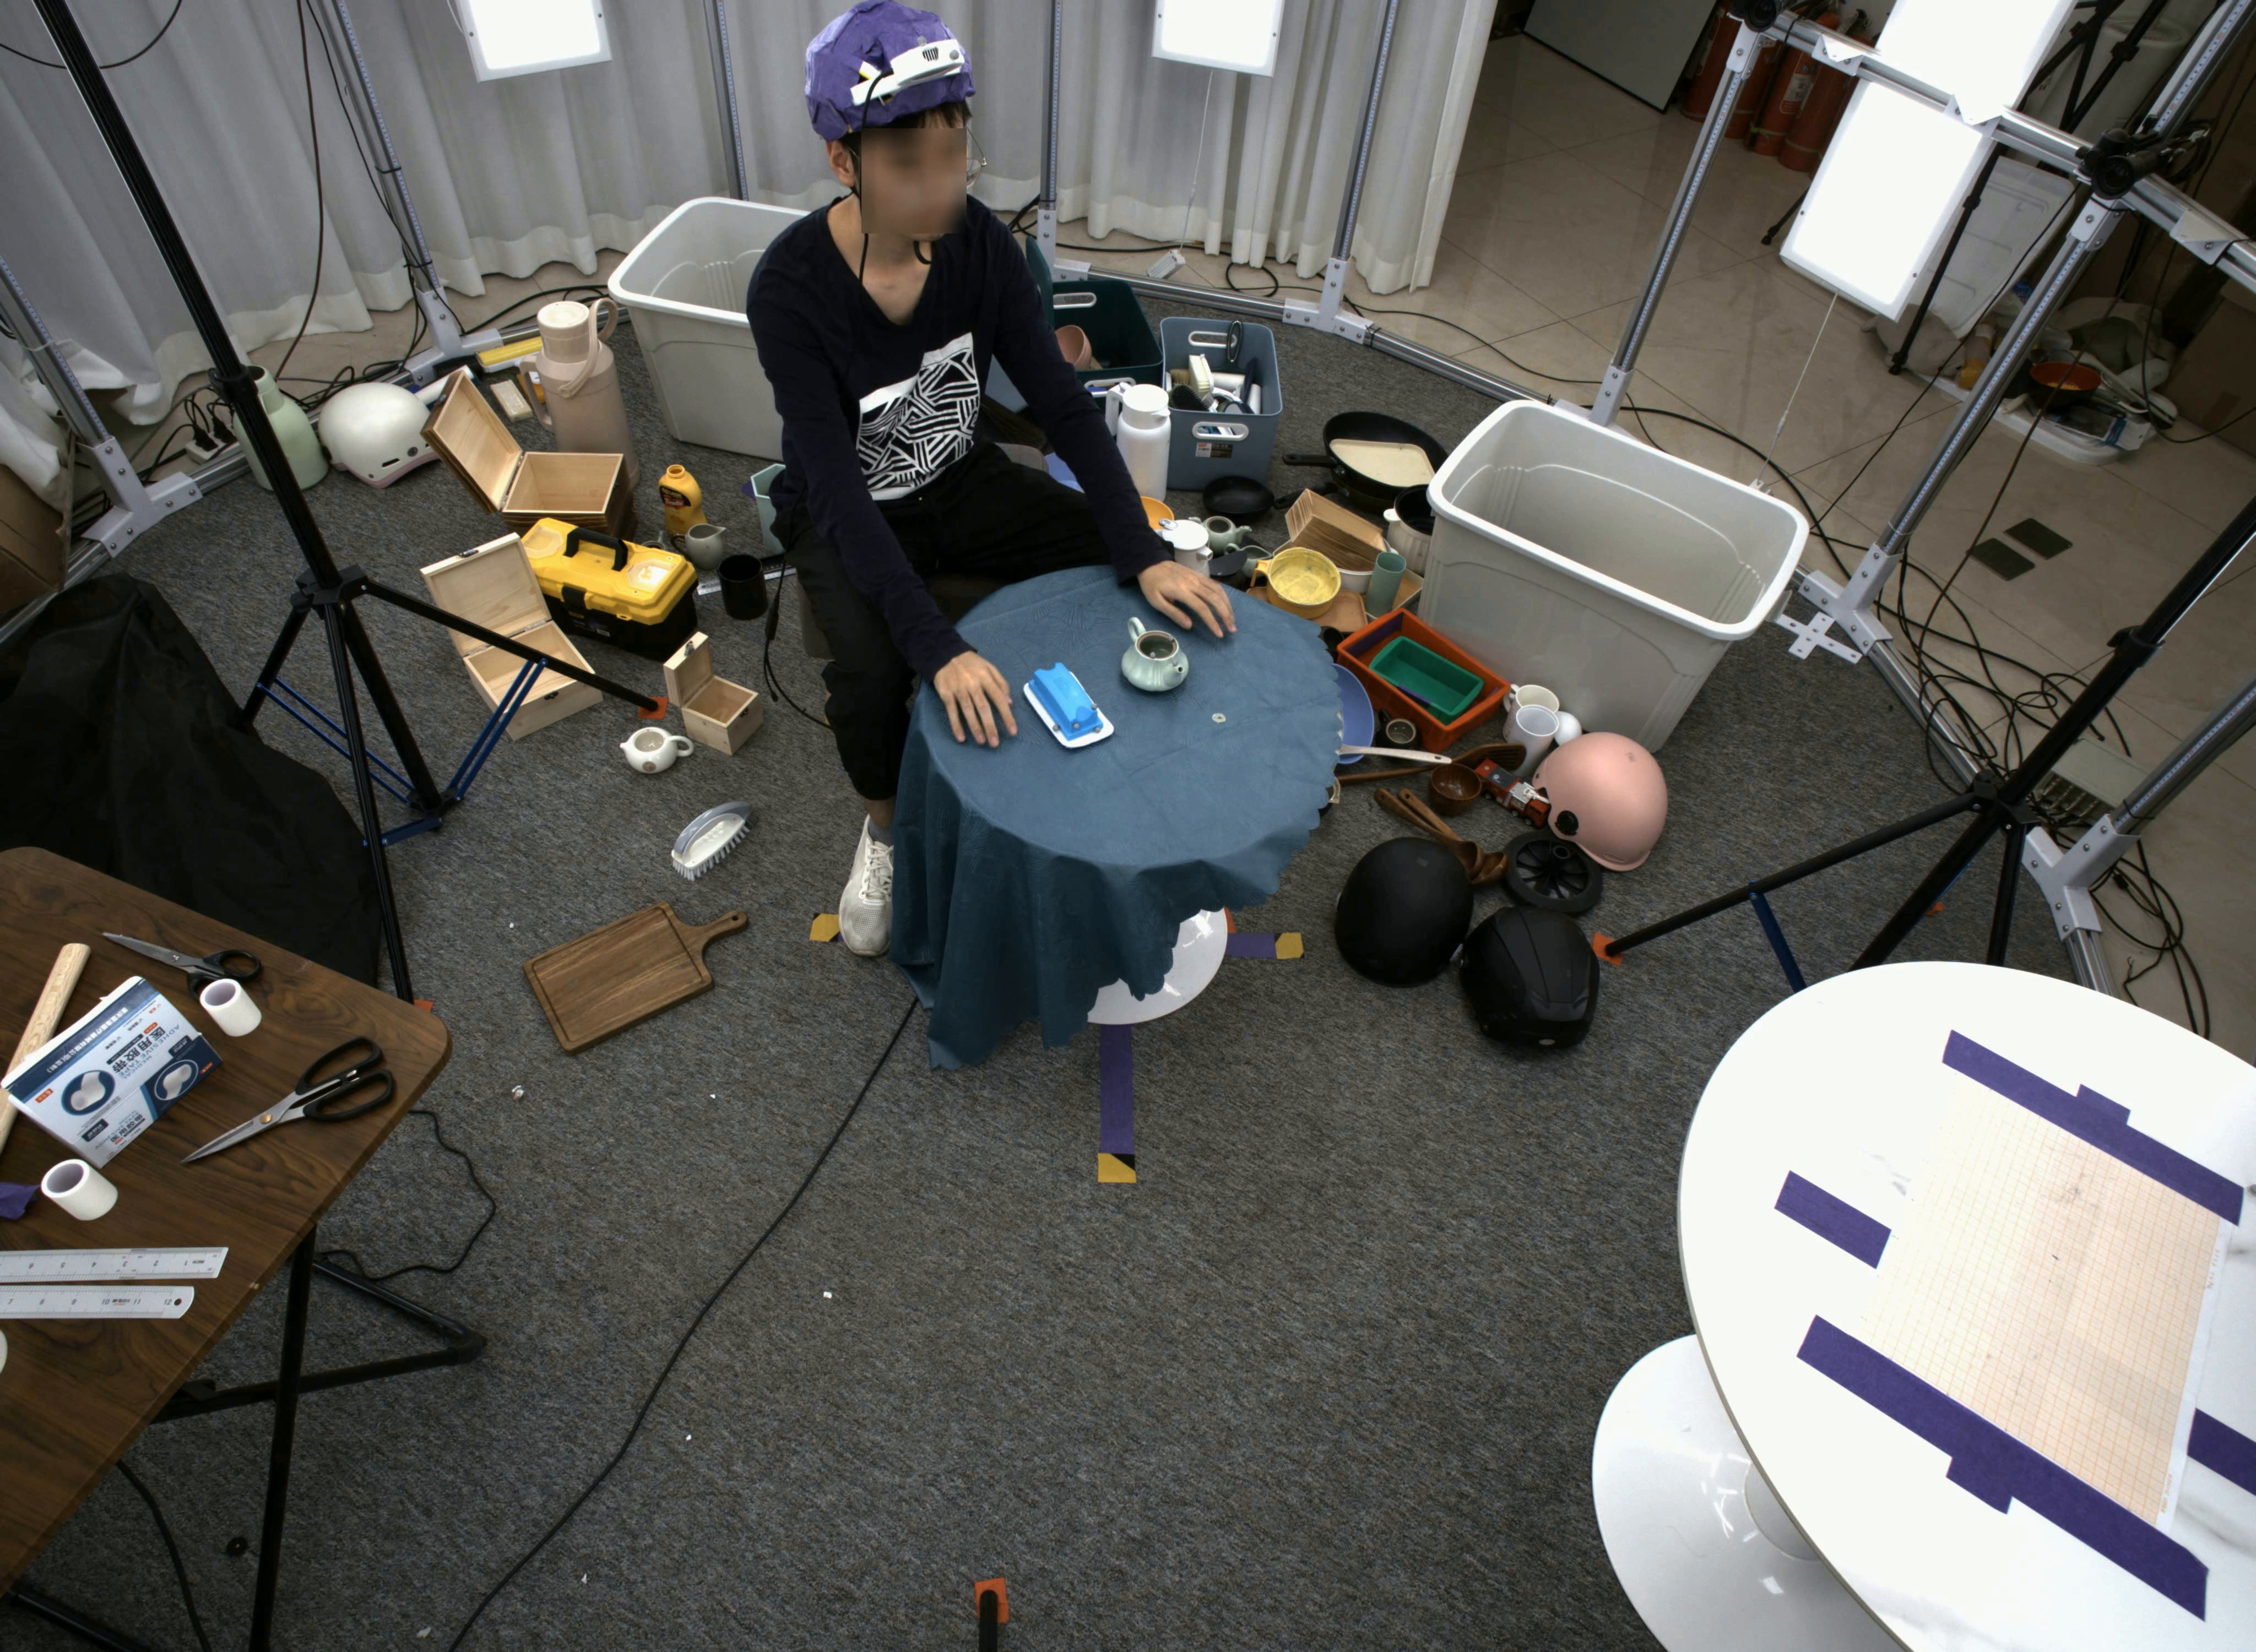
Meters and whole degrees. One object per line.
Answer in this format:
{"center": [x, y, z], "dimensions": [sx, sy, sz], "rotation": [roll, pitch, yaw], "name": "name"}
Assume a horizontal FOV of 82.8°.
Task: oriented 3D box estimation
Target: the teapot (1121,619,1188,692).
{"center": [0.037, -0.242, 1.842], "dimensions": [0.096, 0.060, 0.139], "rotation": [-26, 55, -23], "name": "teapot"}

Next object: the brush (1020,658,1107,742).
{"center": [-0.088, -0.182, 1.780], "dimensions": [0.084, 0.054, 0.147], "rotation": [-18, 55, -22], "name": "brush"}
